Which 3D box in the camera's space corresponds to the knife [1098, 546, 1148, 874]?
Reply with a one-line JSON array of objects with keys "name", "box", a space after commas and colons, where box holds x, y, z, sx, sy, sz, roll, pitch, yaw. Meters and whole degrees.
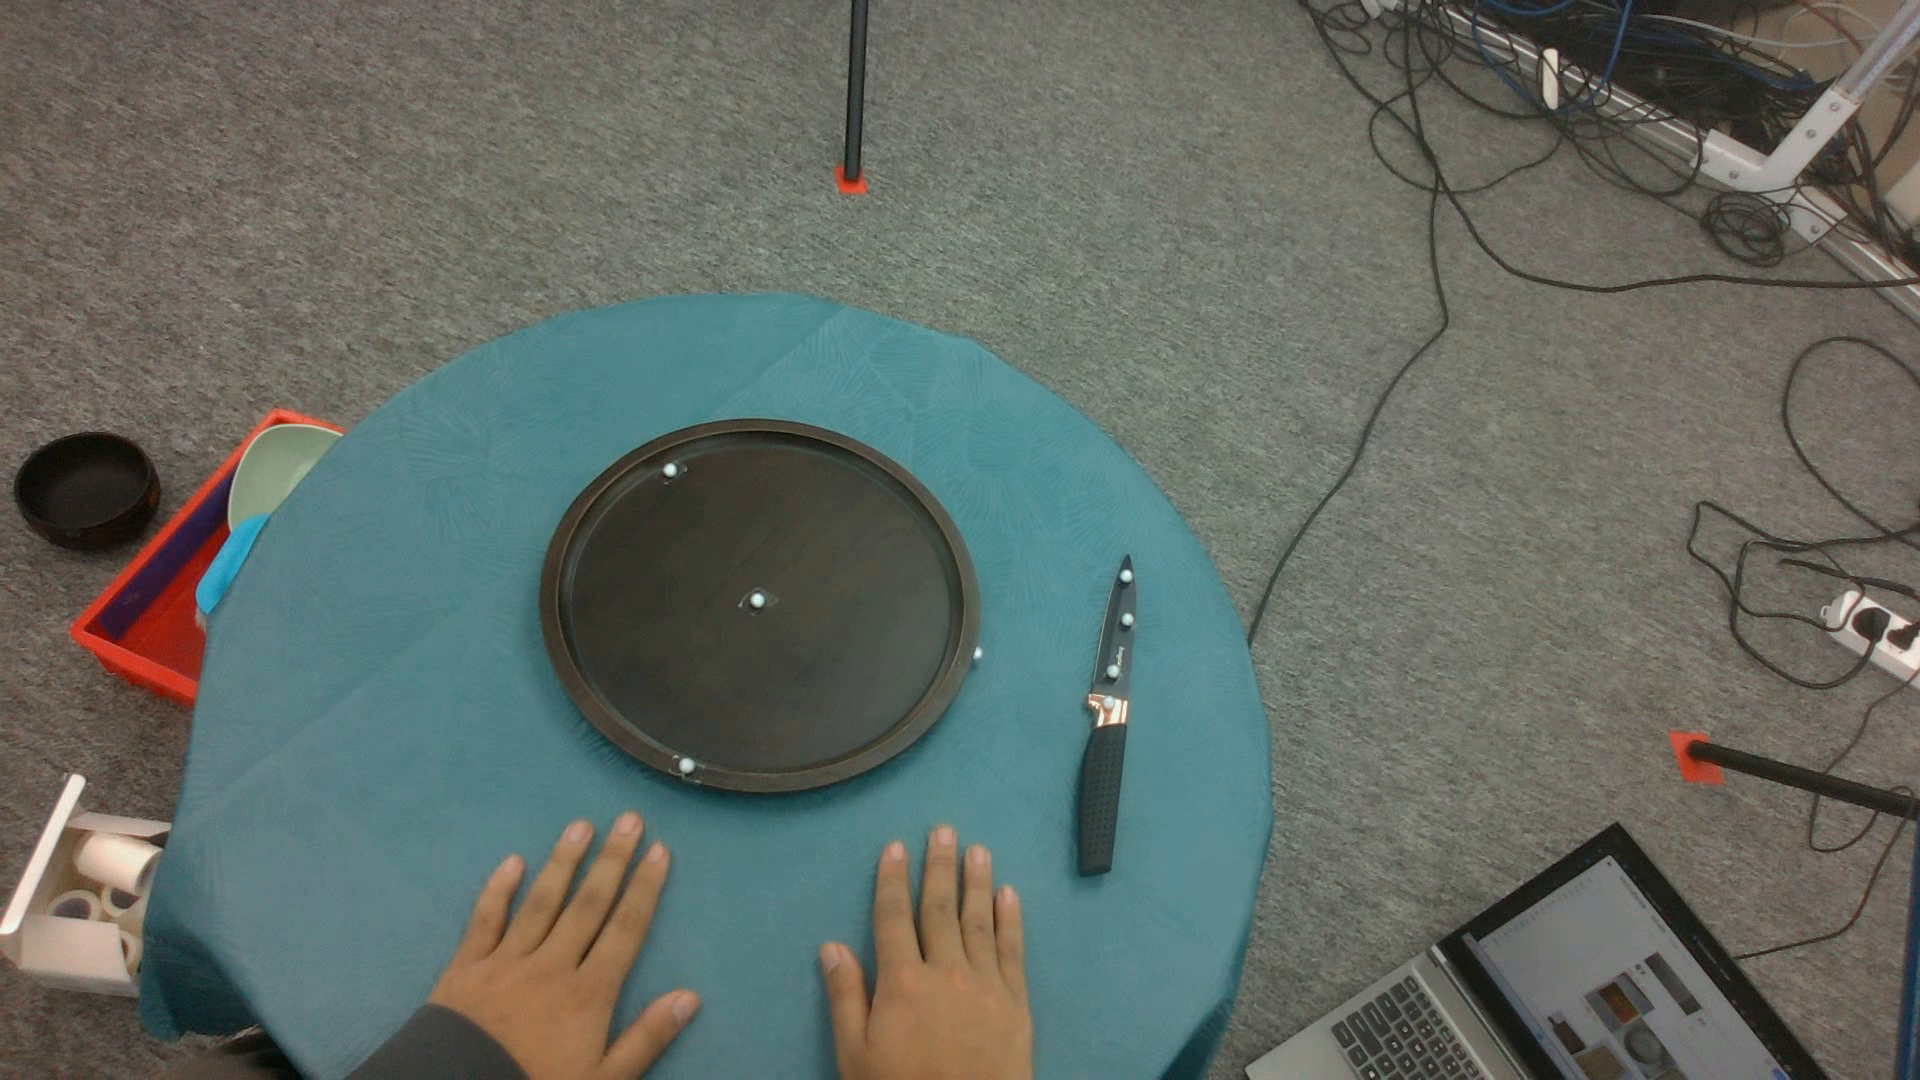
[{"name": "knife", "box": [0.100, 0.094, 0.830, 0.026, 0.017, 0.226, 8, 53, 3]}]

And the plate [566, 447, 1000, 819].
[{"name": "plate", "box": [-0.102, 0.048, 0.819, 0.255, 0.029, 0.256, 5, 56, -7]}]
